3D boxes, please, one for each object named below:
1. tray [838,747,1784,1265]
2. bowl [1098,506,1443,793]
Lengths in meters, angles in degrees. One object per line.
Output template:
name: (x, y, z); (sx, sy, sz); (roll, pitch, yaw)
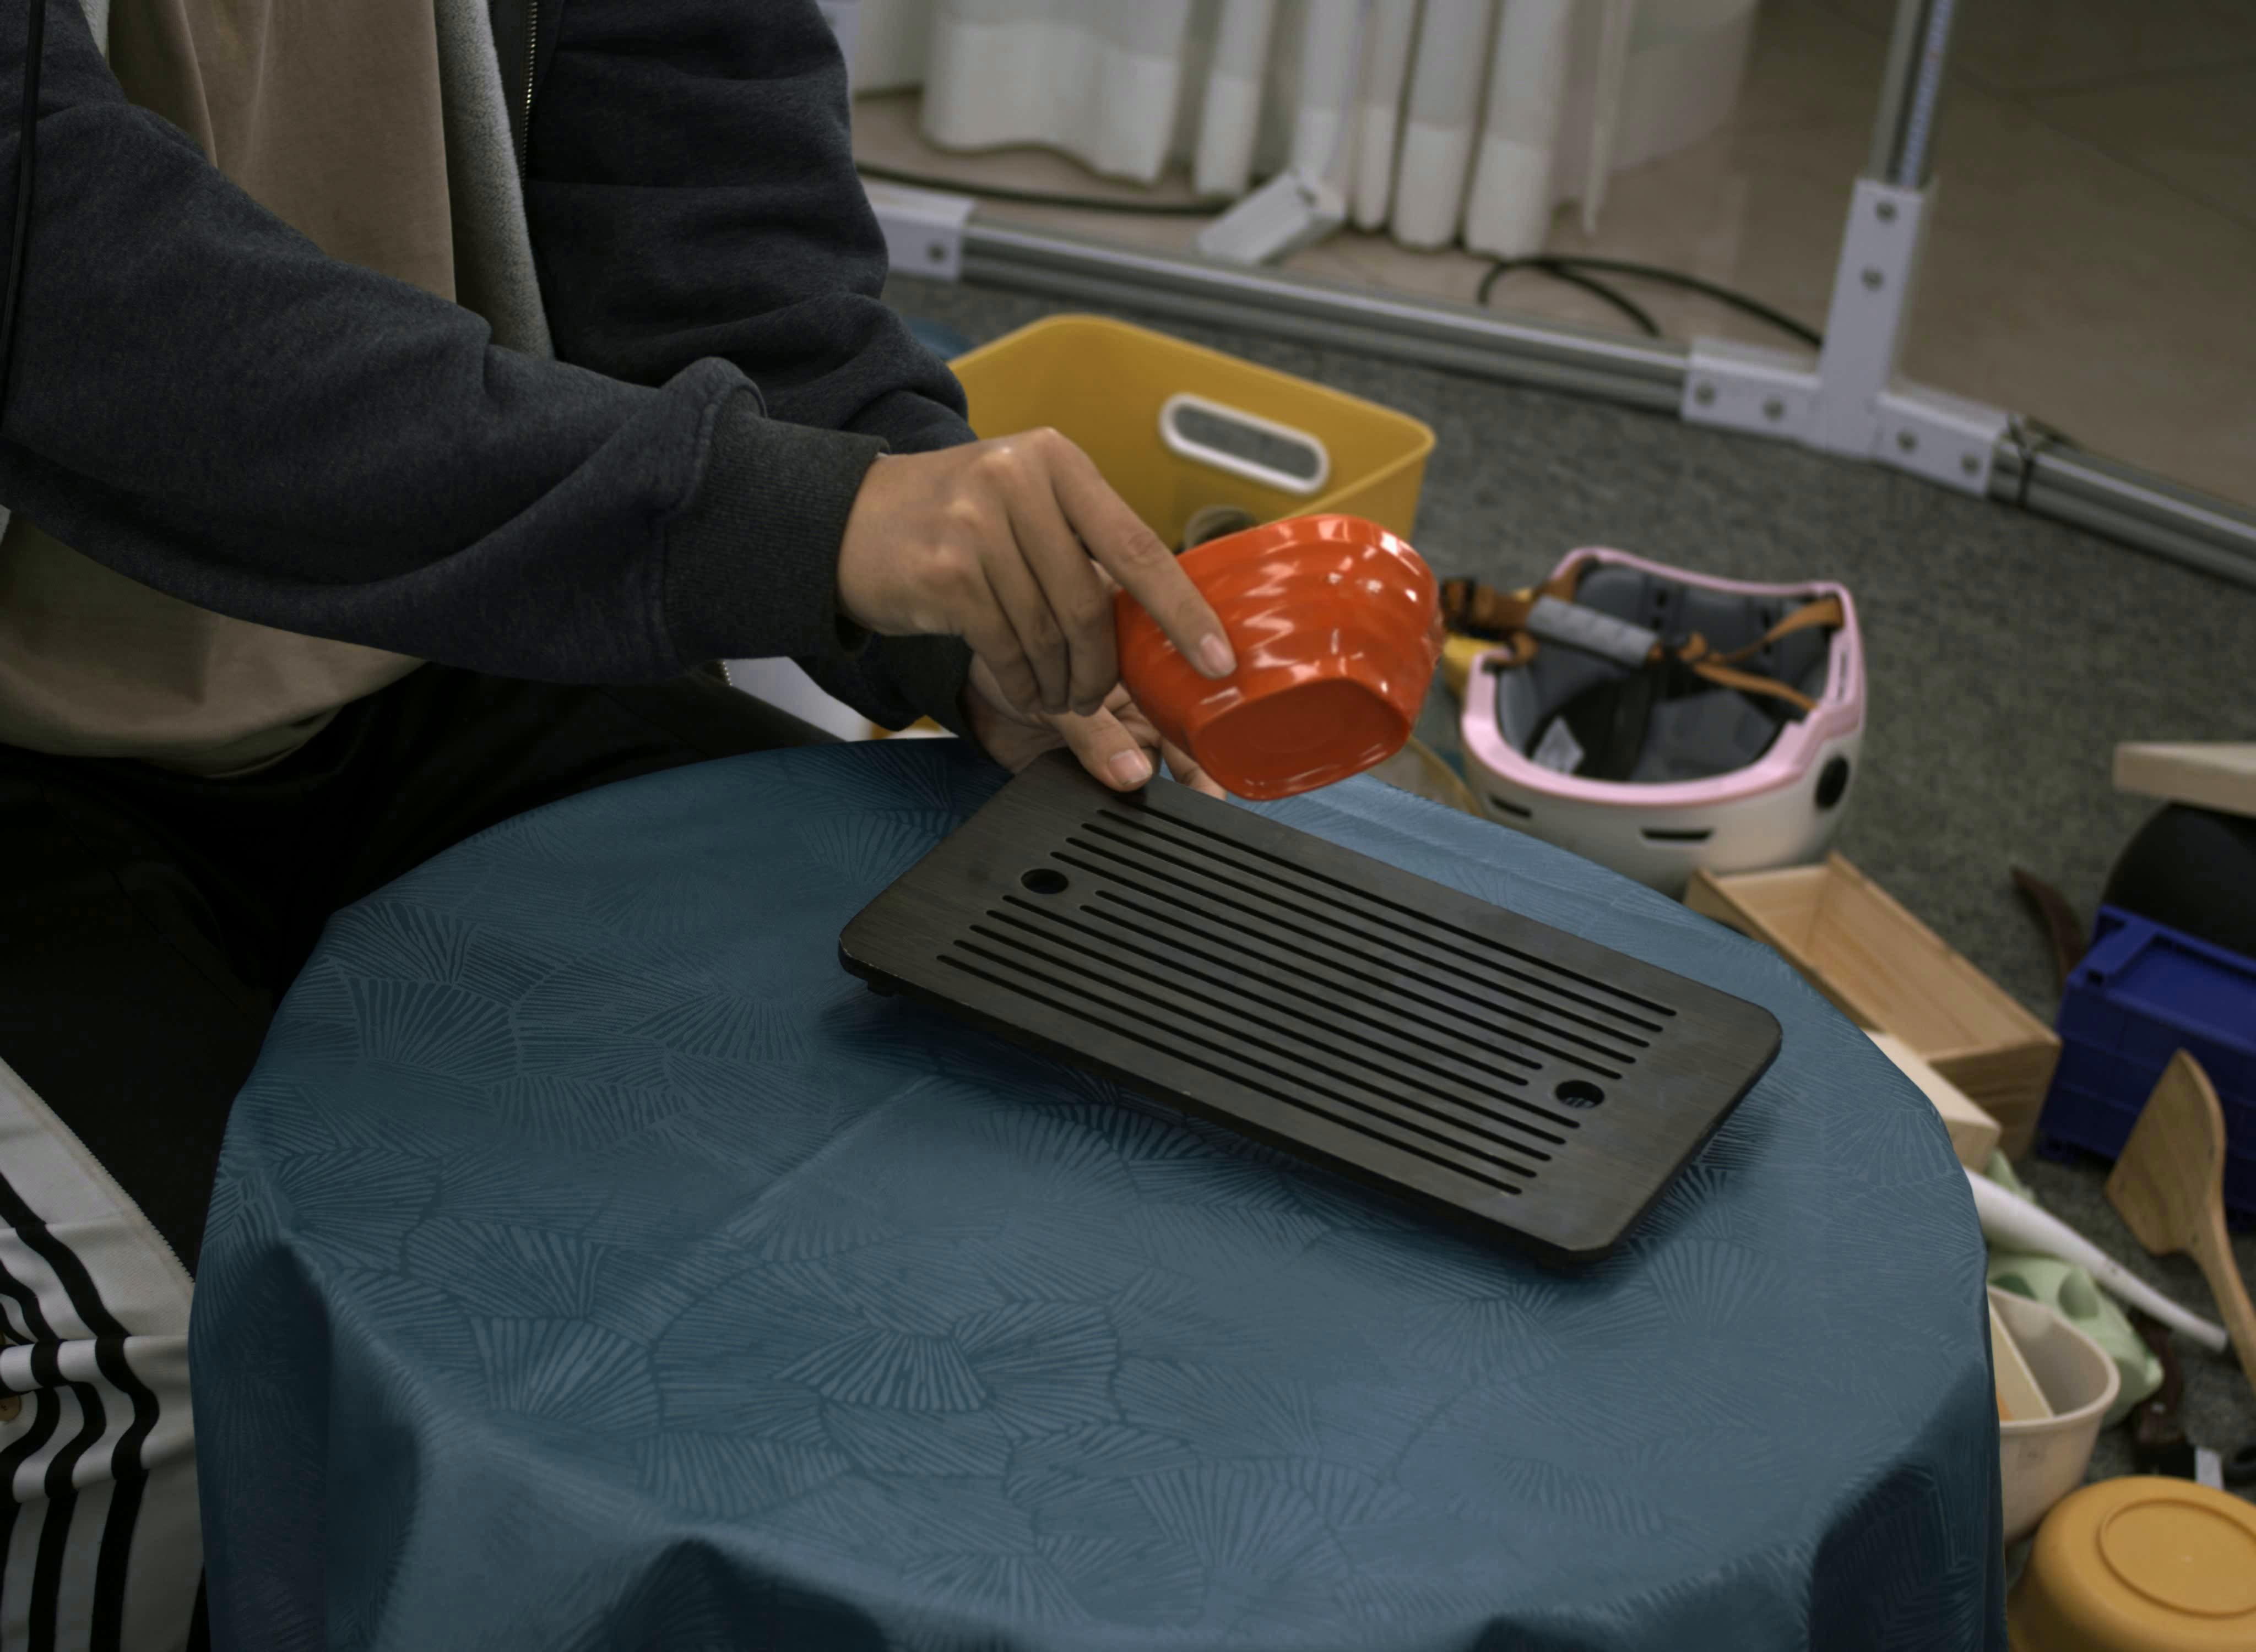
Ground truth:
tray: (0.064, 0.061, 1.889); (0.307, 0.018, 0.170); (21, 36, 22)
bowl: (0.051, -0.051, 1.744); (0.118, 0.118, 0.052); (-1, 59, -16)
